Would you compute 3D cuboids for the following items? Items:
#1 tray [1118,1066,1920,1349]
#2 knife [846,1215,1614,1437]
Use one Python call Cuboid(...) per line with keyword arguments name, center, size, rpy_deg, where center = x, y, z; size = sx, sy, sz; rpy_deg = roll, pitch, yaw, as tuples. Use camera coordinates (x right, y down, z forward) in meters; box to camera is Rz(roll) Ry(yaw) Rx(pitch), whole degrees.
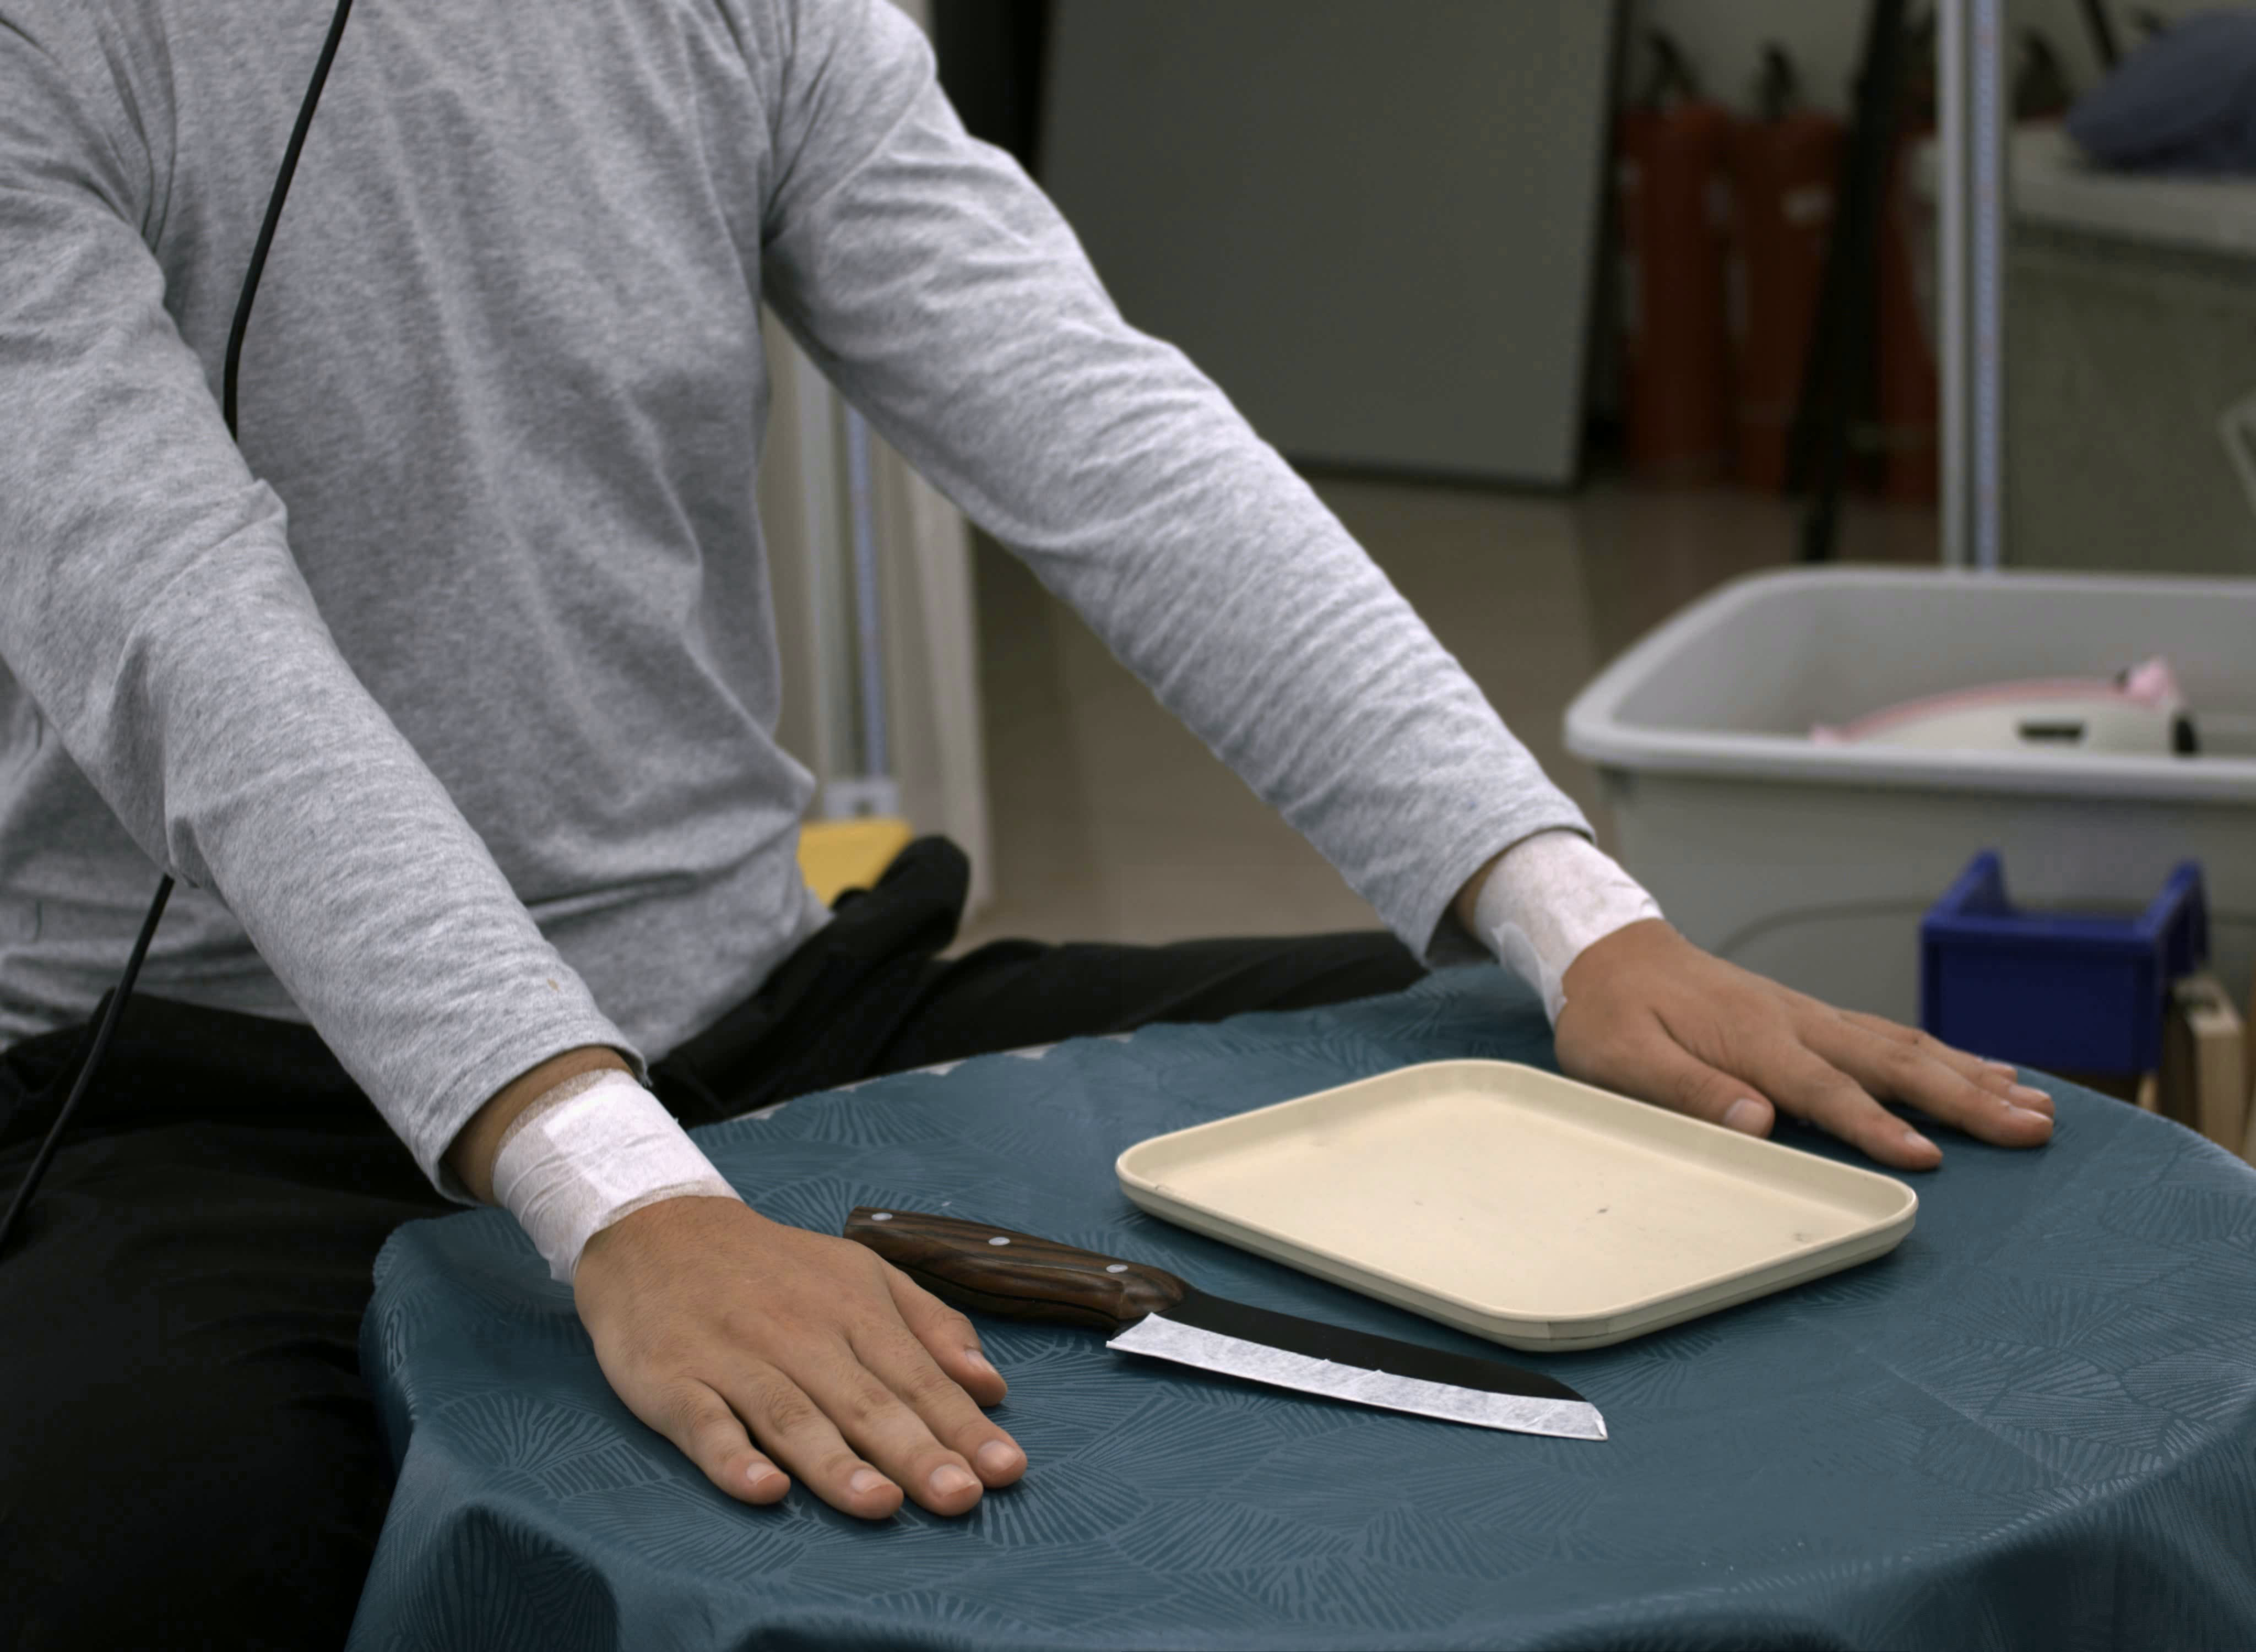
Cuboid(name="tray", center=(0.121, 0.120, 1.708), size=(0.167, 0.017, 0.242), rpy_deg=(-13, 16, -33))
Cuboid(name="knife", center=(0.025, 0.151, 1.612), size=(0.291, 0.020, 0.049), rpy_deg=(10, 24, 38))
